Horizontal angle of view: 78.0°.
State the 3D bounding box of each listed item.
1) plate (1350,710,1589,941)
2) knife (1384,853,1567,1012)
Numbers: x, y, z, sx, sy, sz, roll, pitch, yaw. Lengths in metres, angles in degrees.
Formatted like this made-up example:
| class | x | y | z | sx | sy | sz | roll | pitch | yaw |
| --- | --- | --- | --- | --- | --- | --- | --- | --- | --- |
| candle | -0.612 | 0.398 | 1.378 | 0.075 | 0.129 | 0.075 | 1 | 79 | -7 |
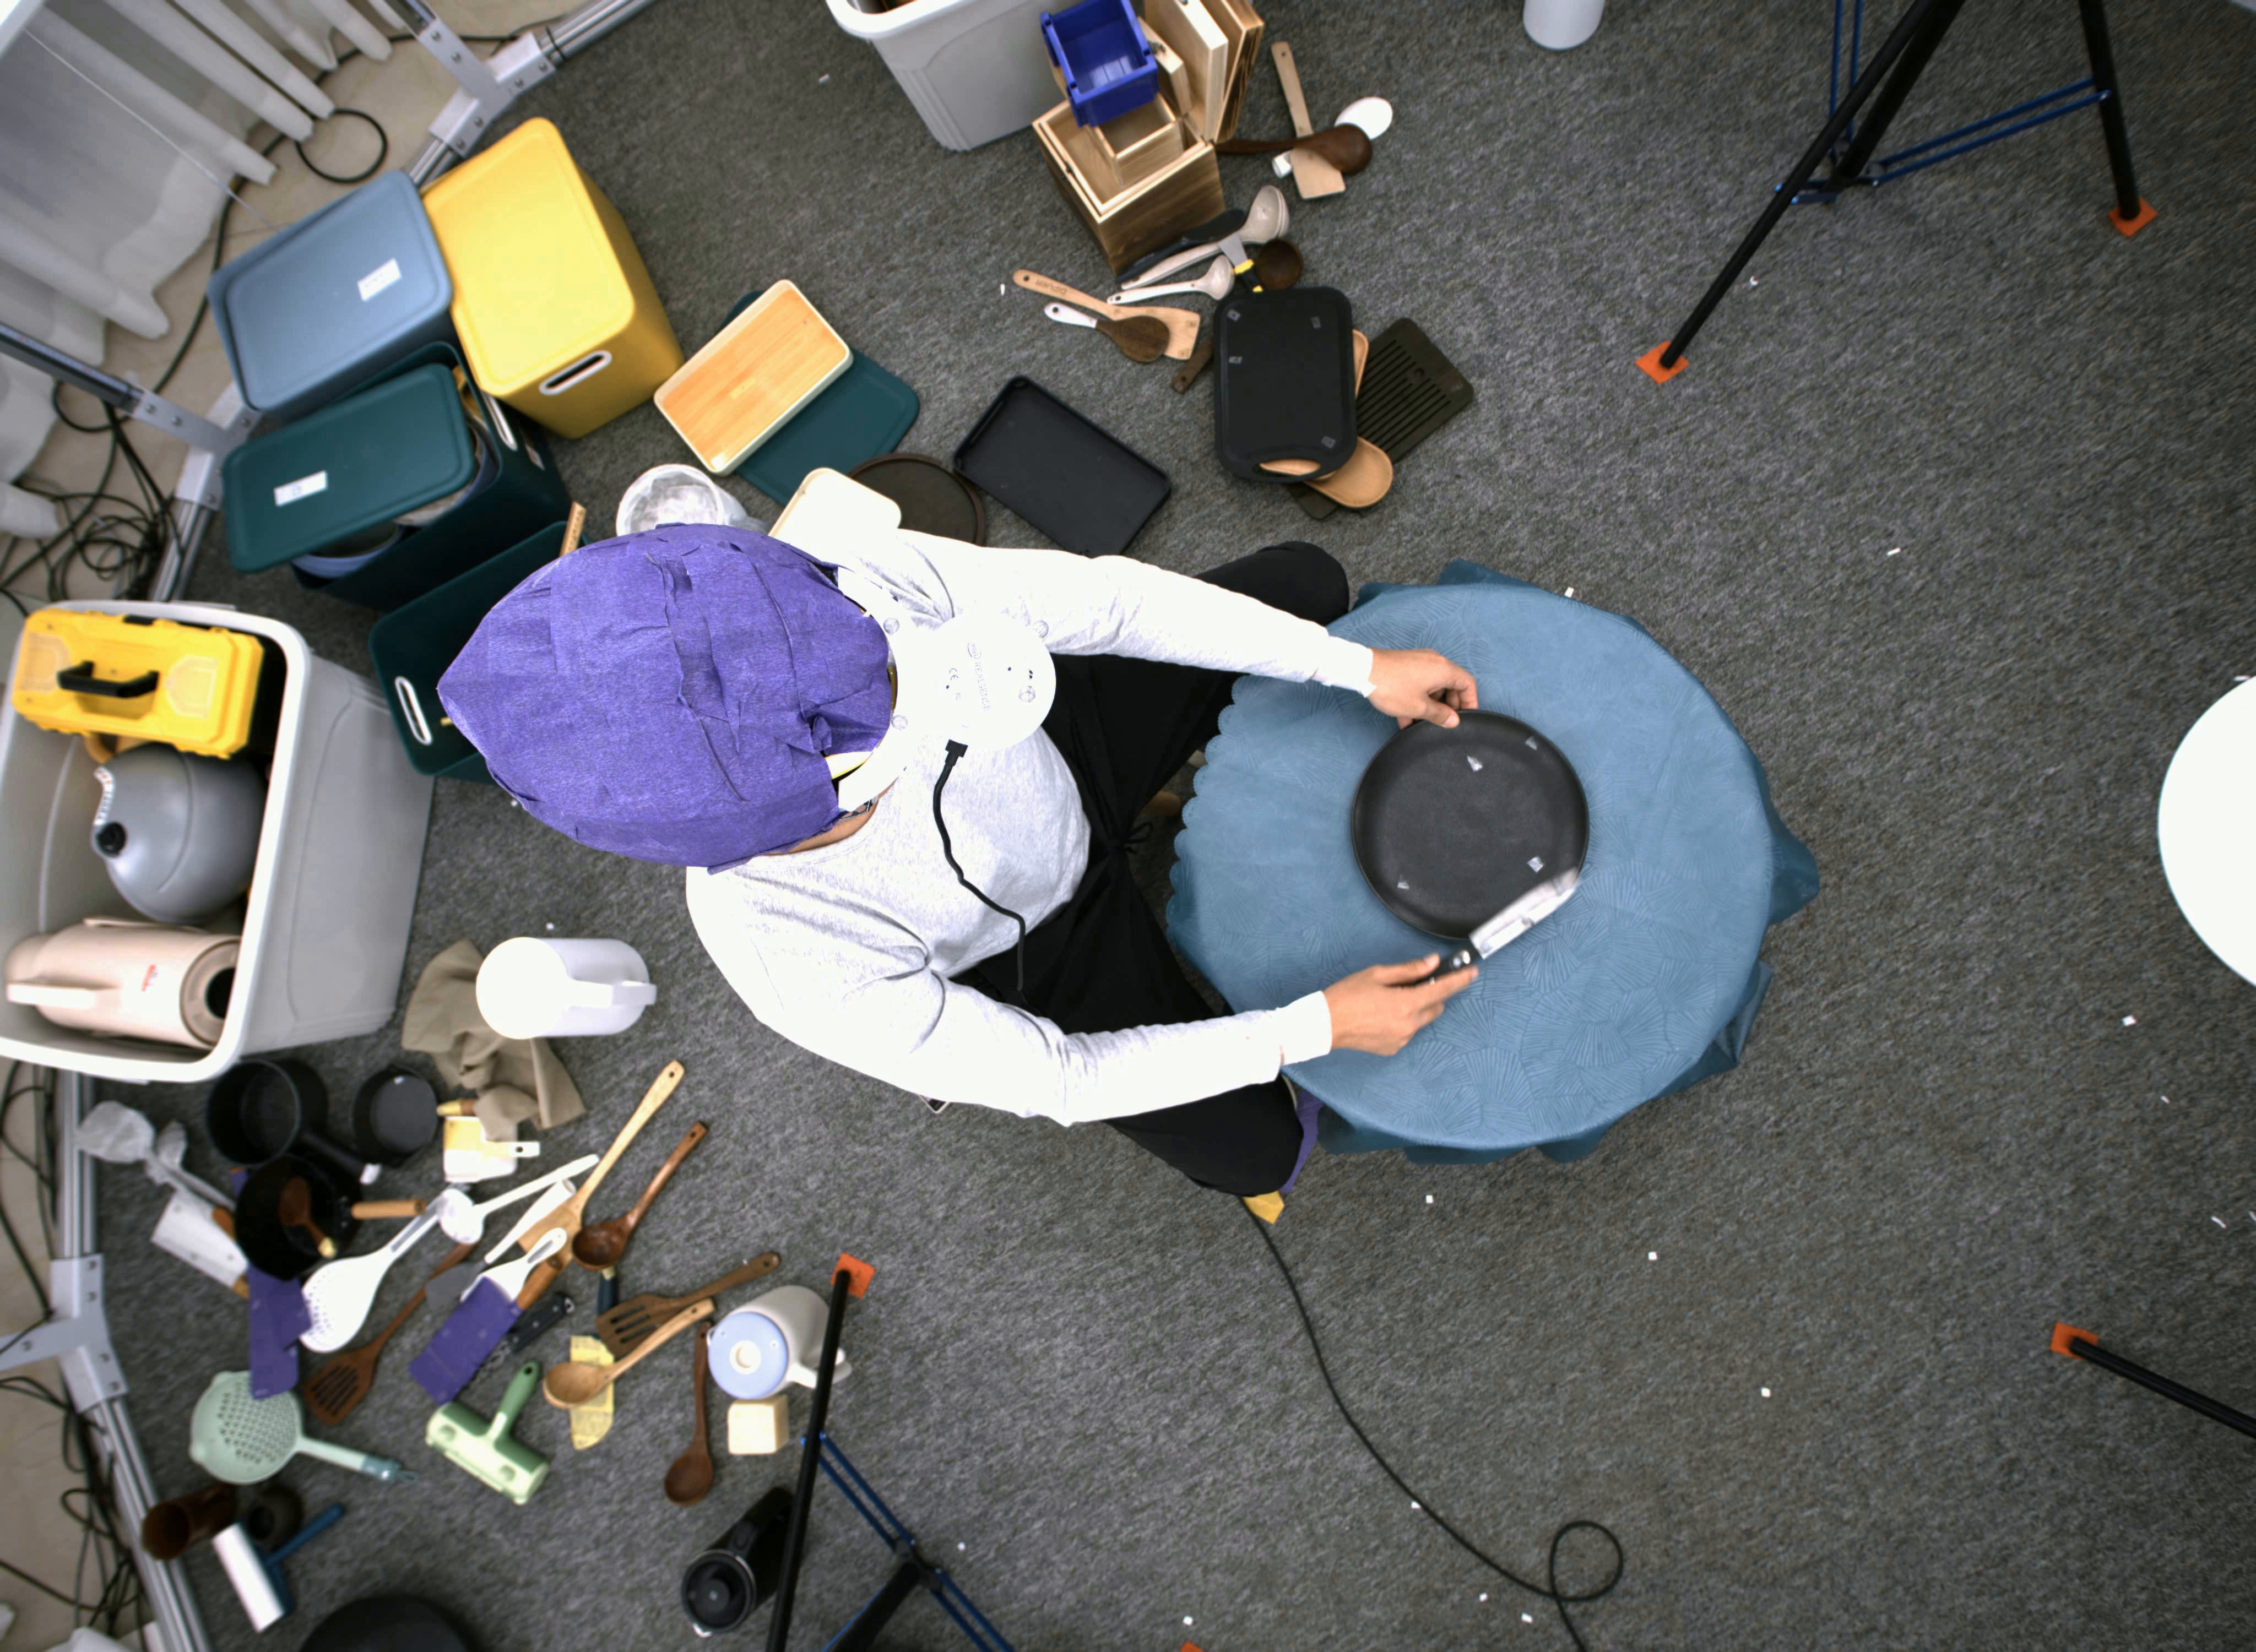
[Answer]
| class | x | y | z | sx | sy | sz | roll | pitch | yaw |
| --- | --- | --- | --- | --- | --- | --- | --- | --- | --- |
| plate | 0.355 | -0.002 | 1.437 | 0.245 | 0.023 | 0.243 | -1 | 87 | 11 |
| knife | 0.352 | 0.106 | 1.382 | 0.239 | 0.016 | 0.024 | -42 | 71 | 6 |
